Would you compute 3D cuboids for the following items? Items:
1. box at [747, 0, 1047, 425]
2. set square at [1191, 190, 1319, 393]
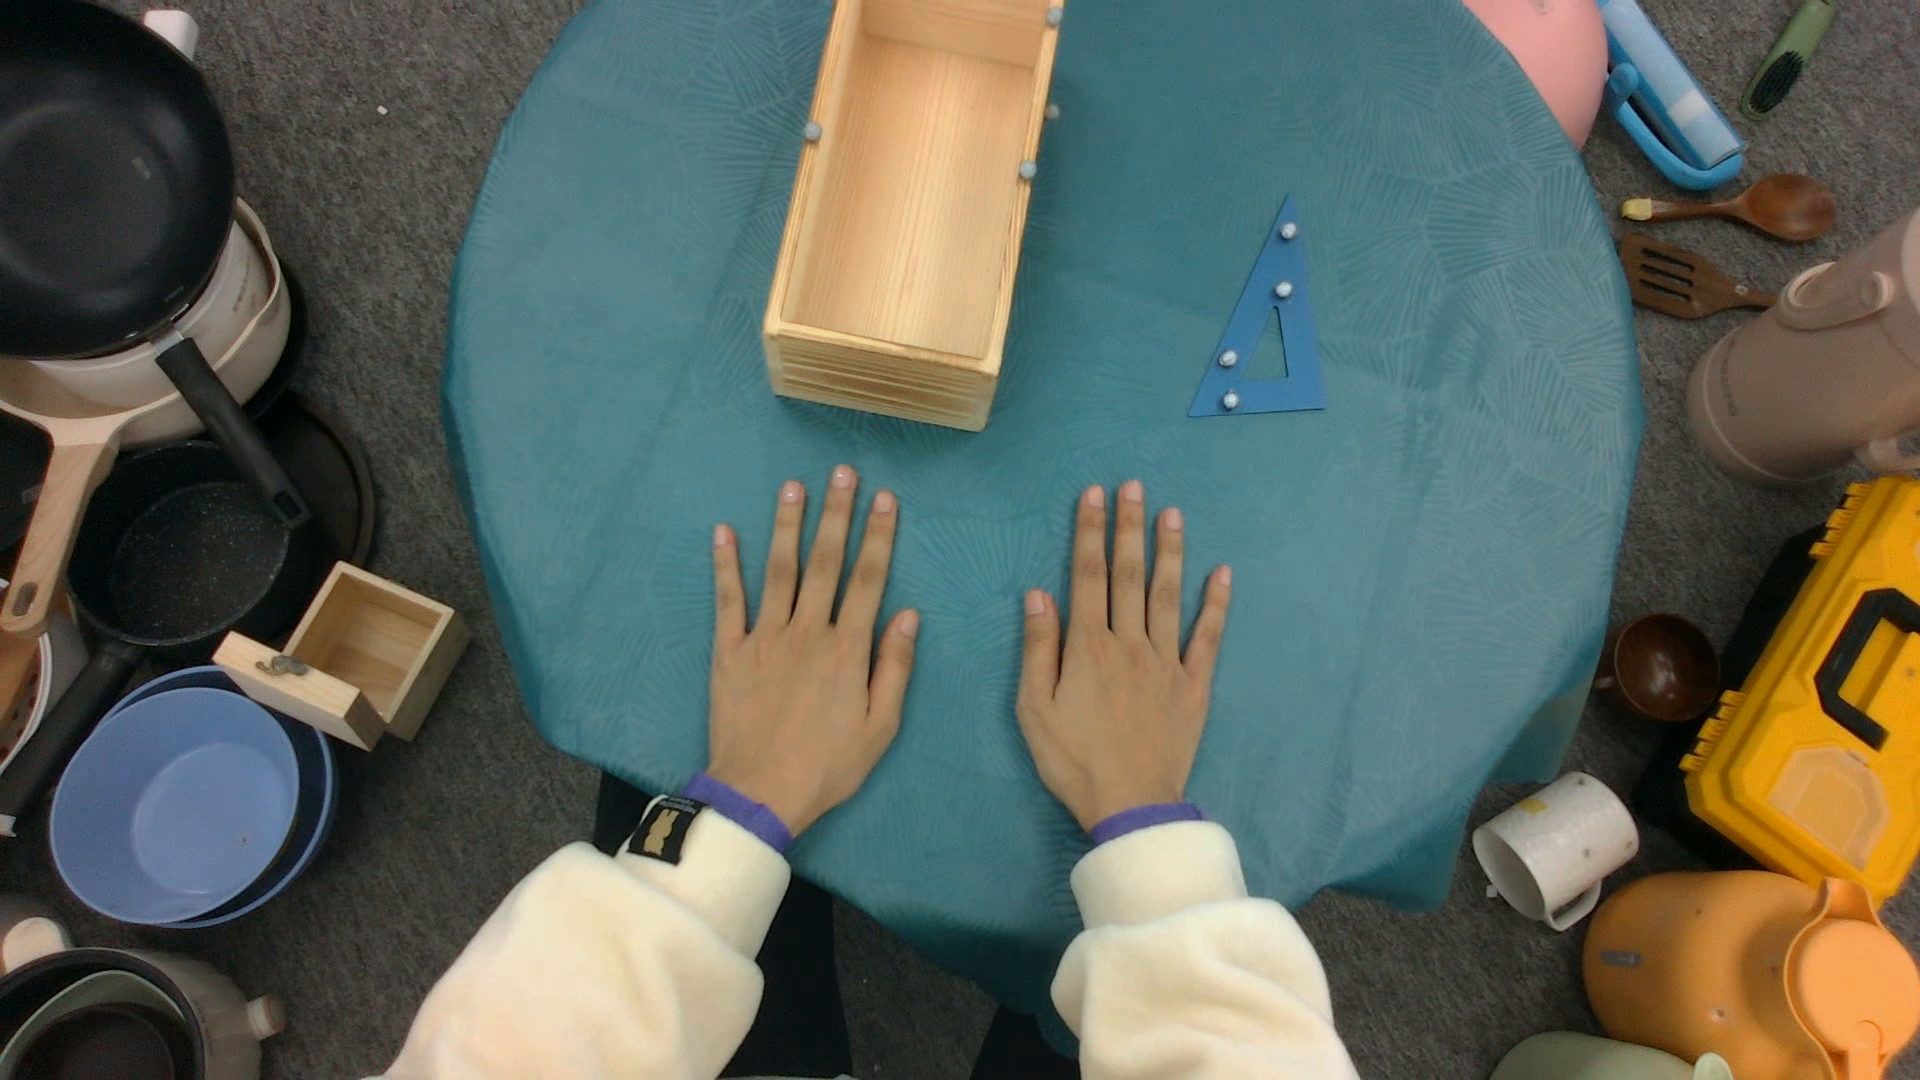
[{"bbox_3d":[-0.027,-0.174,0.666,0.107,0.080,0.212,10,74,-1],"label":"box"},{"bbox_3d":[0.172,-0.120,0.708,0.061,0.006,0.132,29,75,4],"label":"set square"}]
